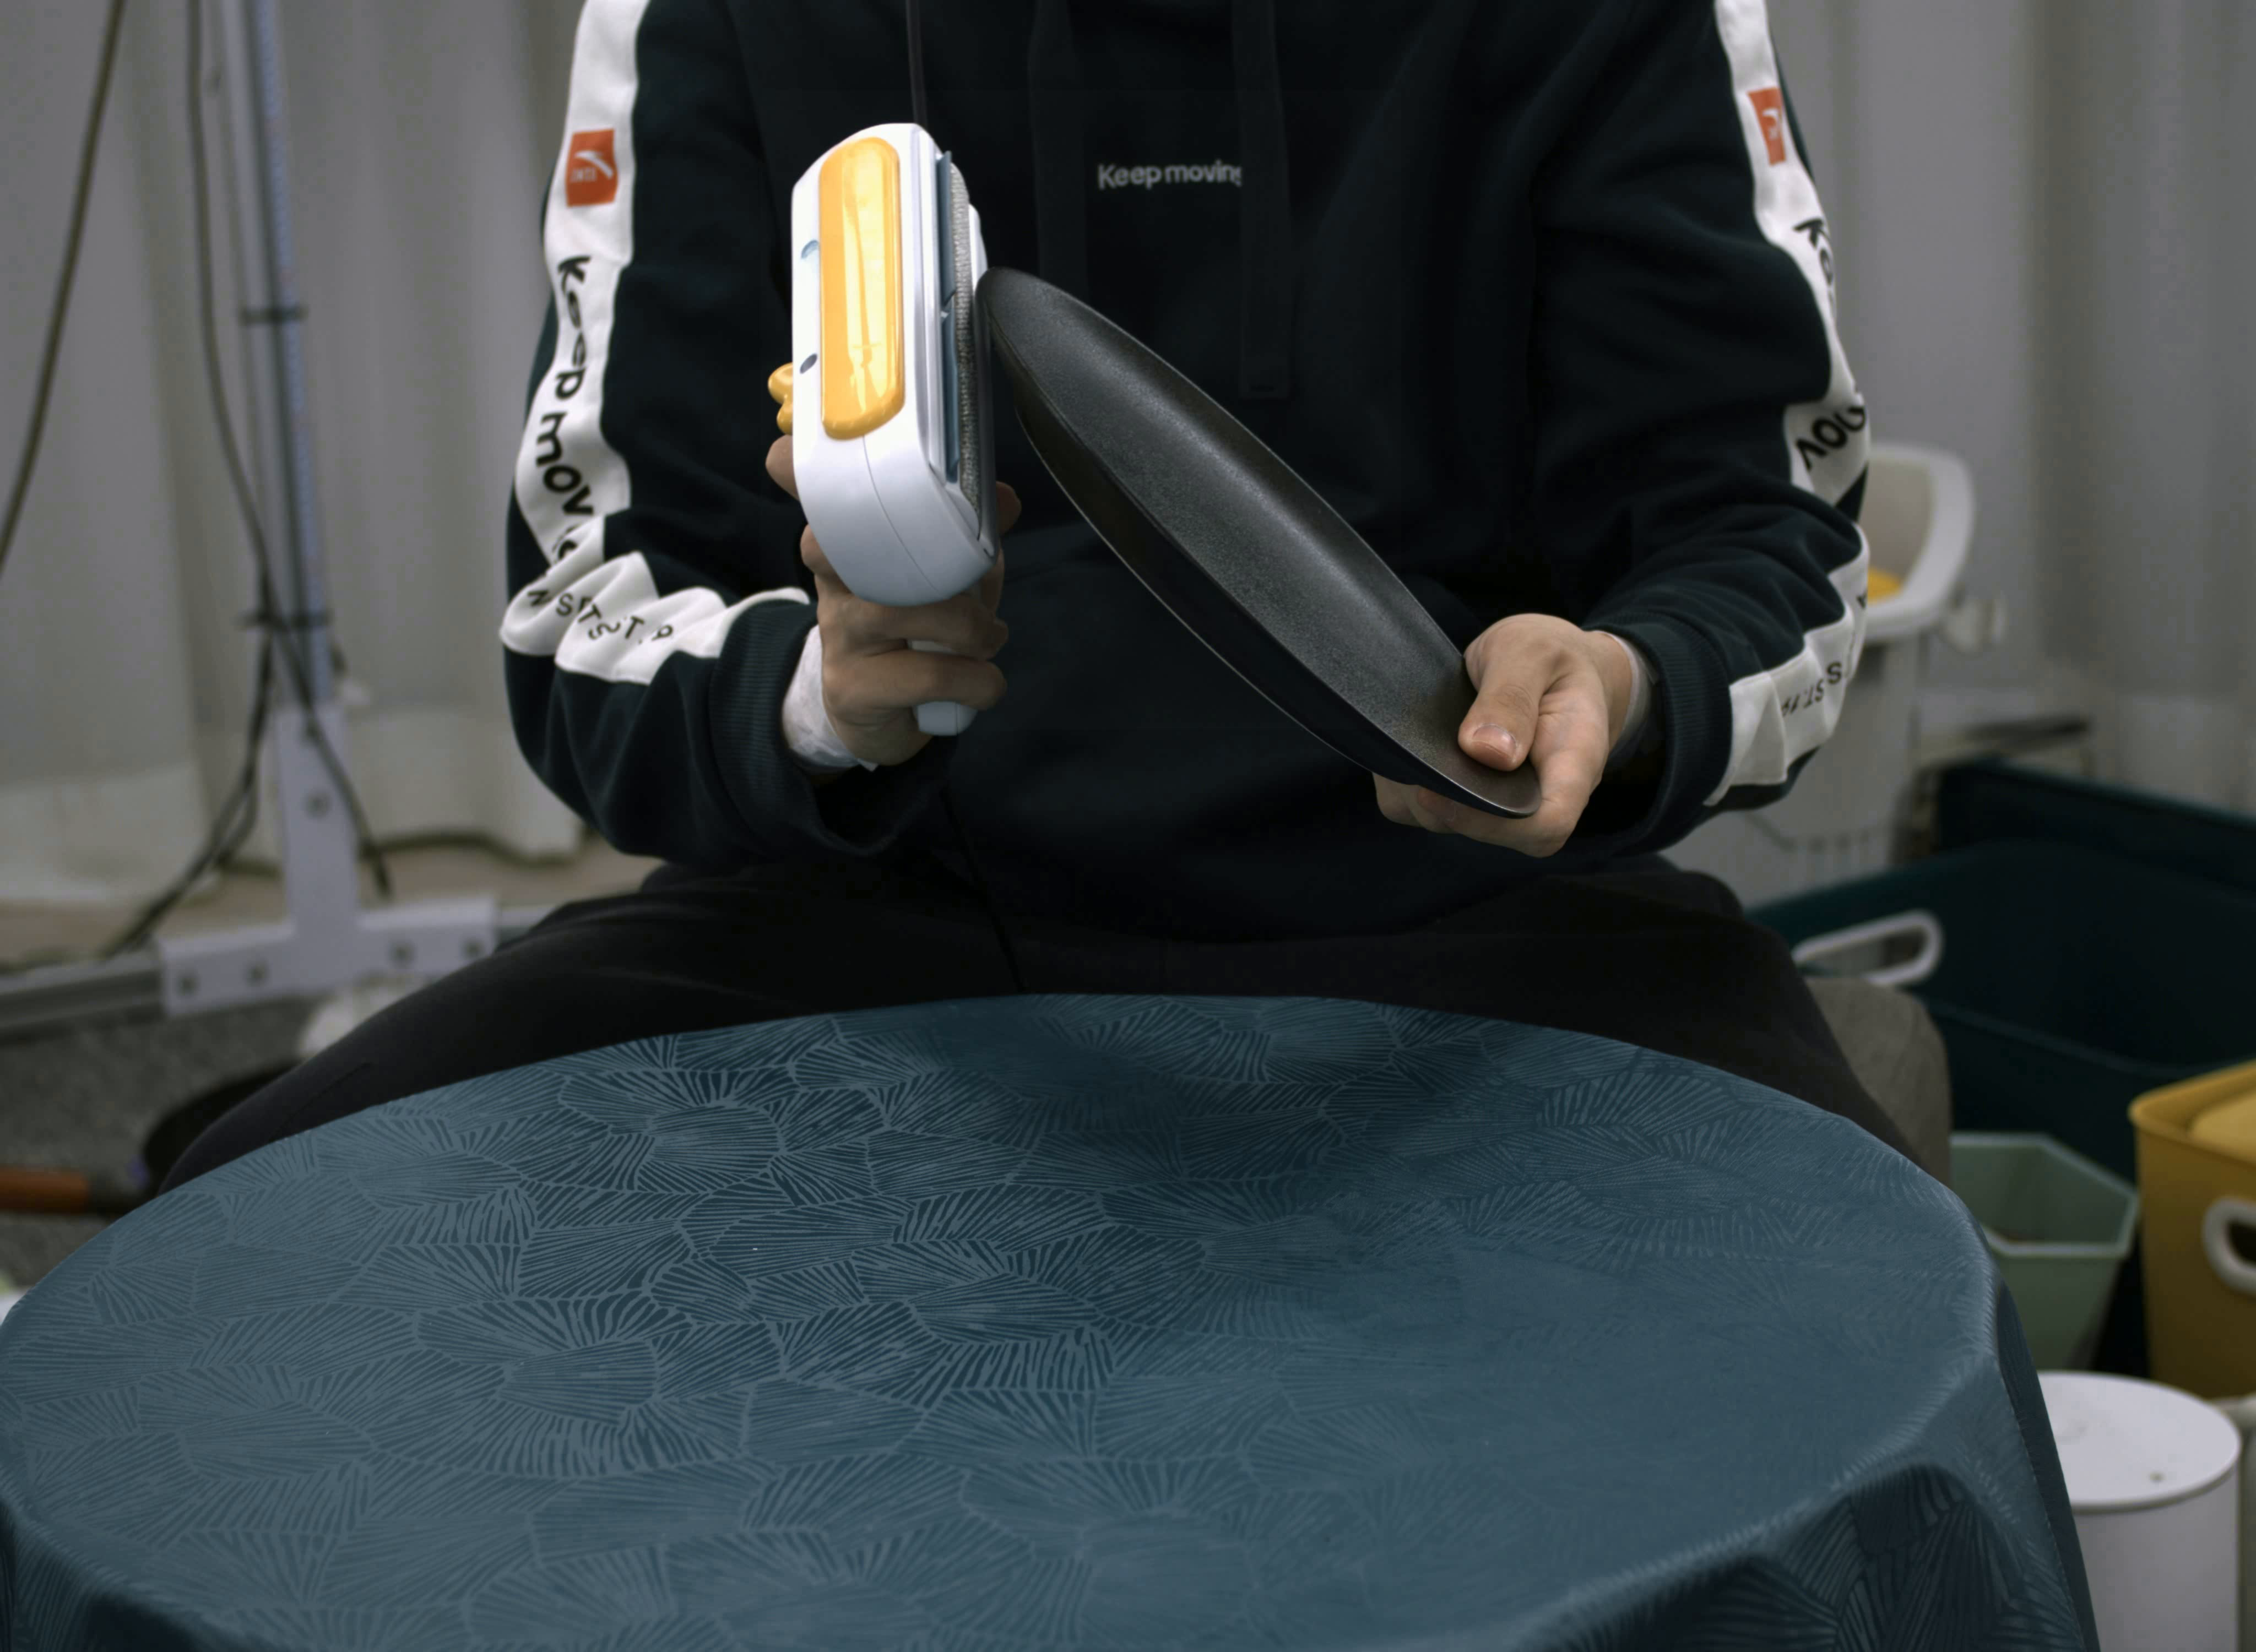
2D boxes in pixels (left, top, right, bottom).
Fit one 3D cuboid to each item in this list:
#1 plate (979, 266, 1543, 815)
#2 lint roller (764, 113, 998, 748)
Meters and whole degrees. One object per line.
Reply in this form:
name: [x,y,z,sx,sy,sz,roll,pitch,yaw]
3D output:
plate: [0.037,-0.085,1.733,0.023,0.243,0.246,-46,12,13]
lint roller: [-0.065,-0.107,1.770,0.074,0.190,0.196,-18,38,6]
